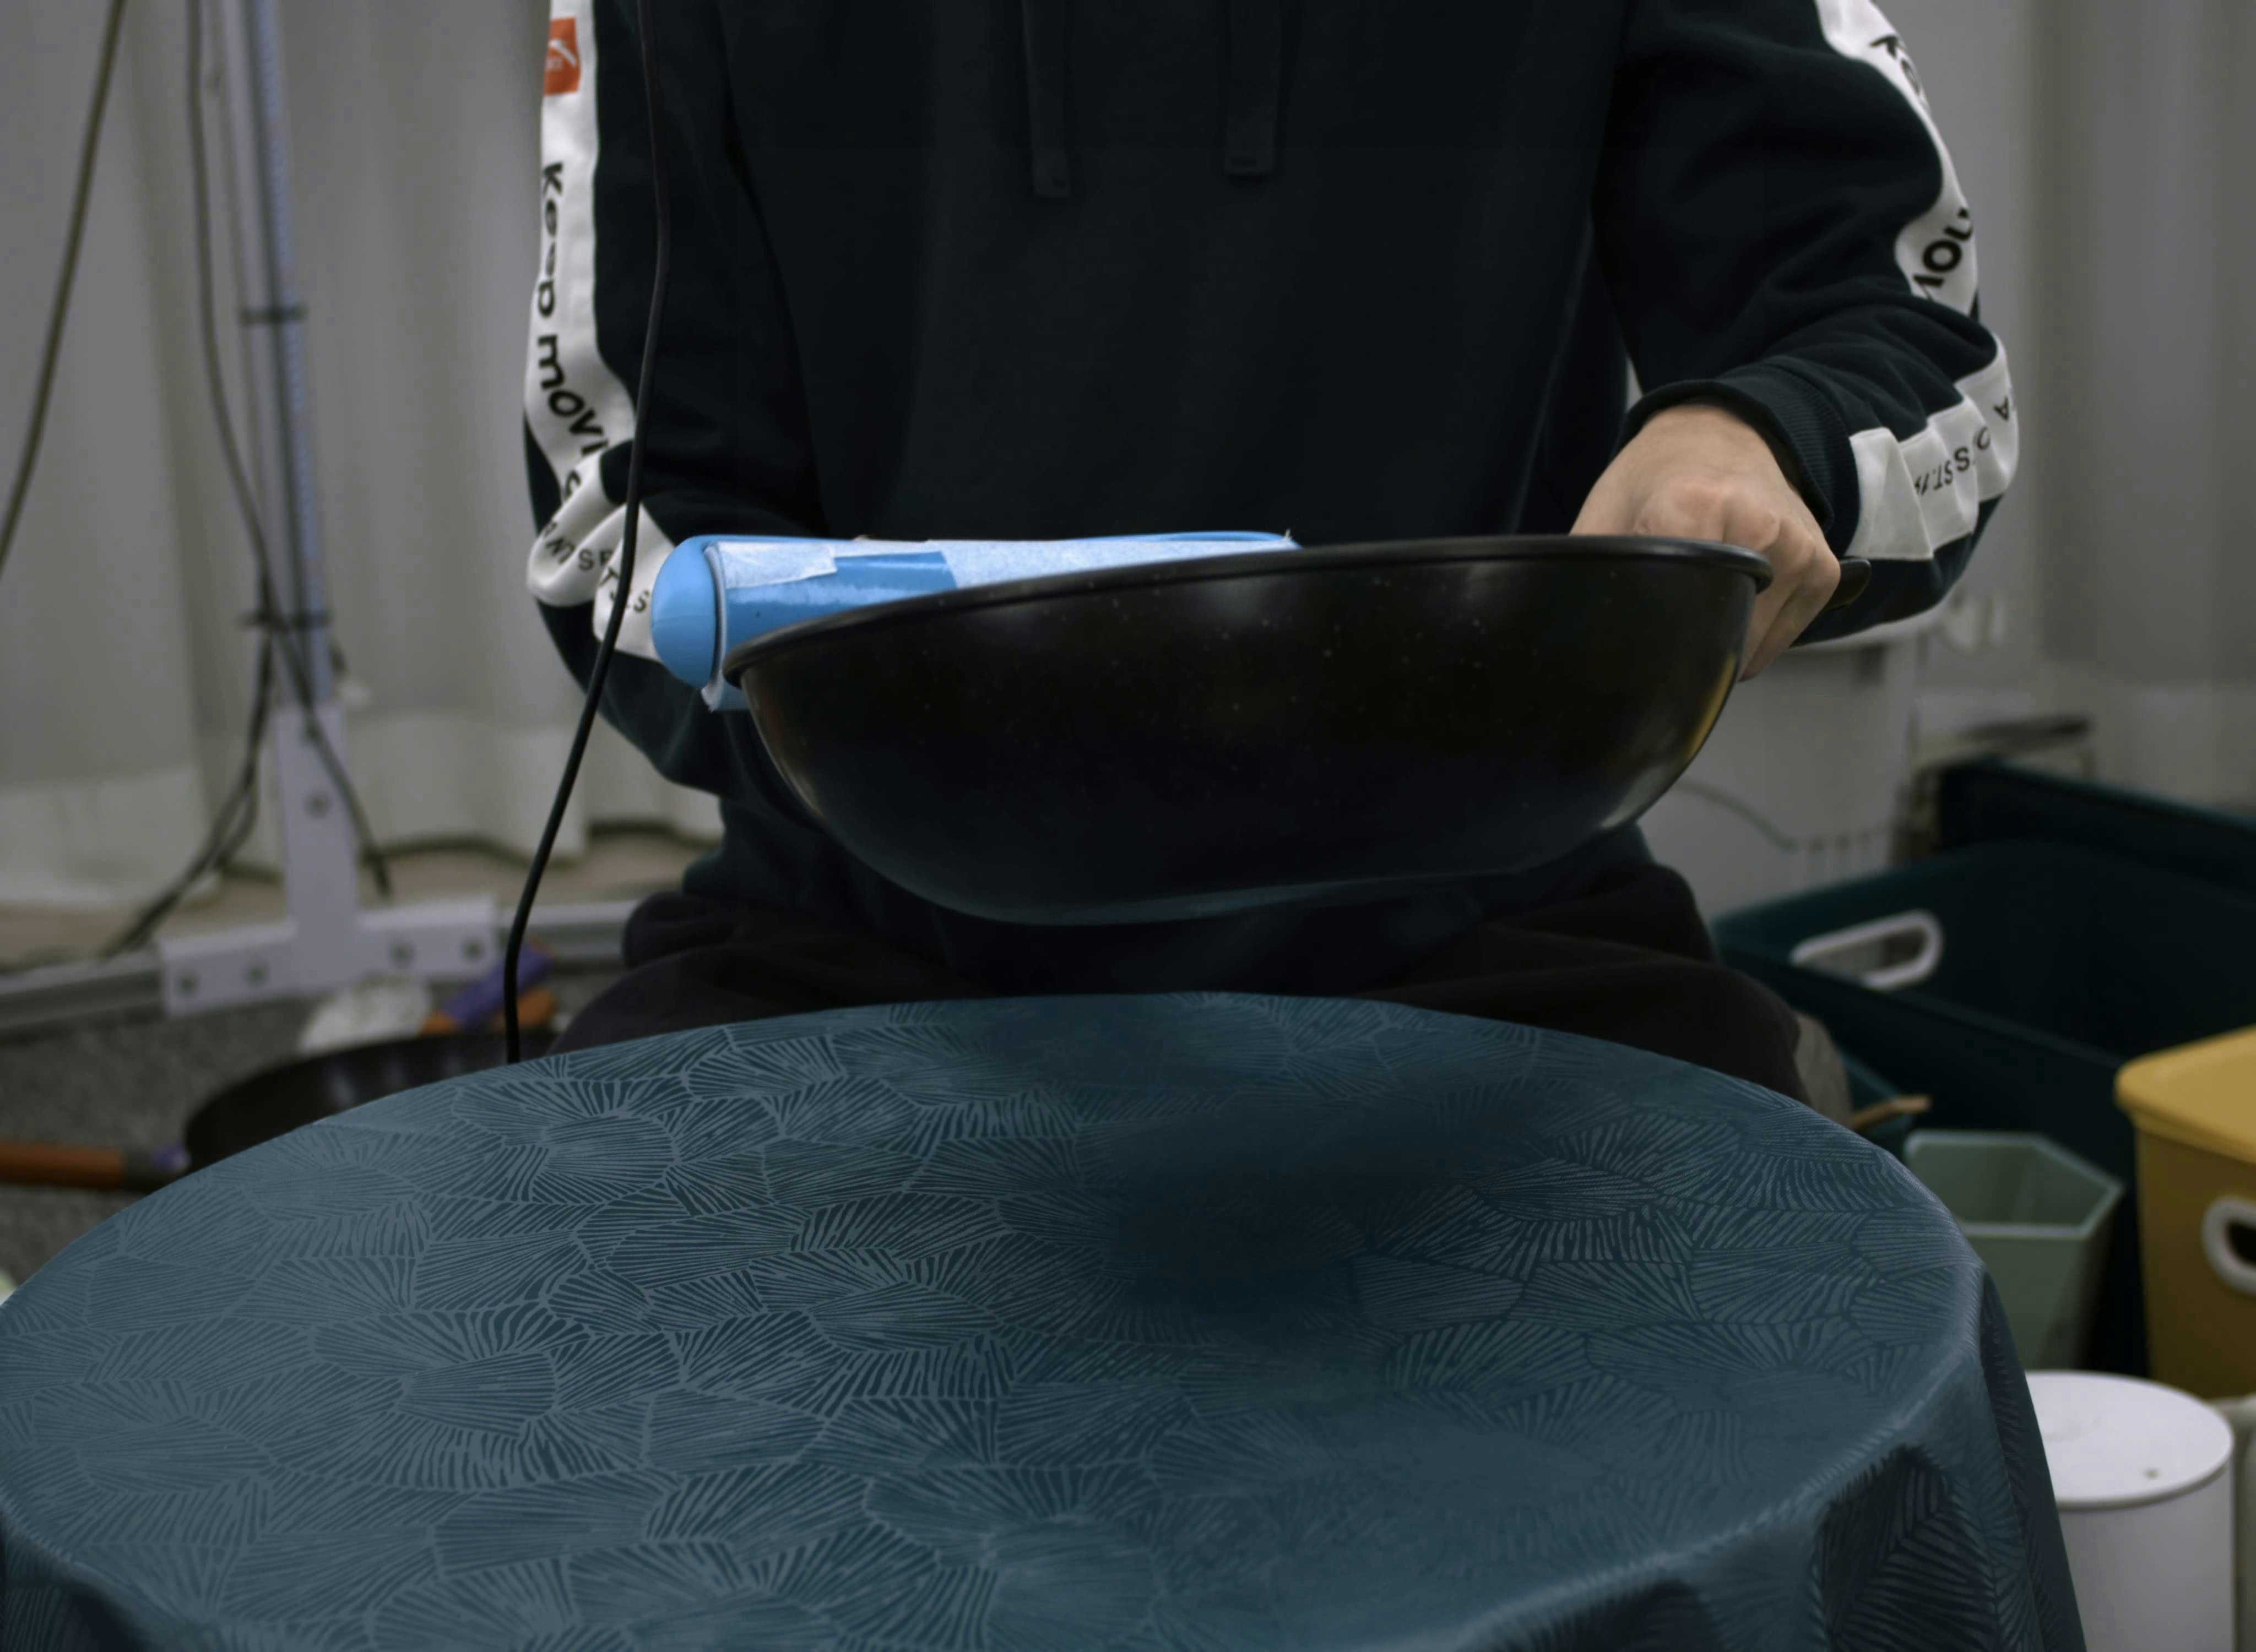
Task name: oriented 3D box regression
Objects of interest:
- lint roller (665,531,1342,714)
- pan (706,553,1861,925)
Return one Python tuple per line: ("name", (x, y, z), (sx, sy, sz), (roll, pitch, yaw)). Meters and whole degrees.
("lint roller", (-0.054, -0.061, 1.820), (0.228, 0.068, 0.180), (-3, -5, -17))
("pan", (0.087, -0.031, 1.660), (0.310, 0.112, 0.474), (-6, -4, 40))
